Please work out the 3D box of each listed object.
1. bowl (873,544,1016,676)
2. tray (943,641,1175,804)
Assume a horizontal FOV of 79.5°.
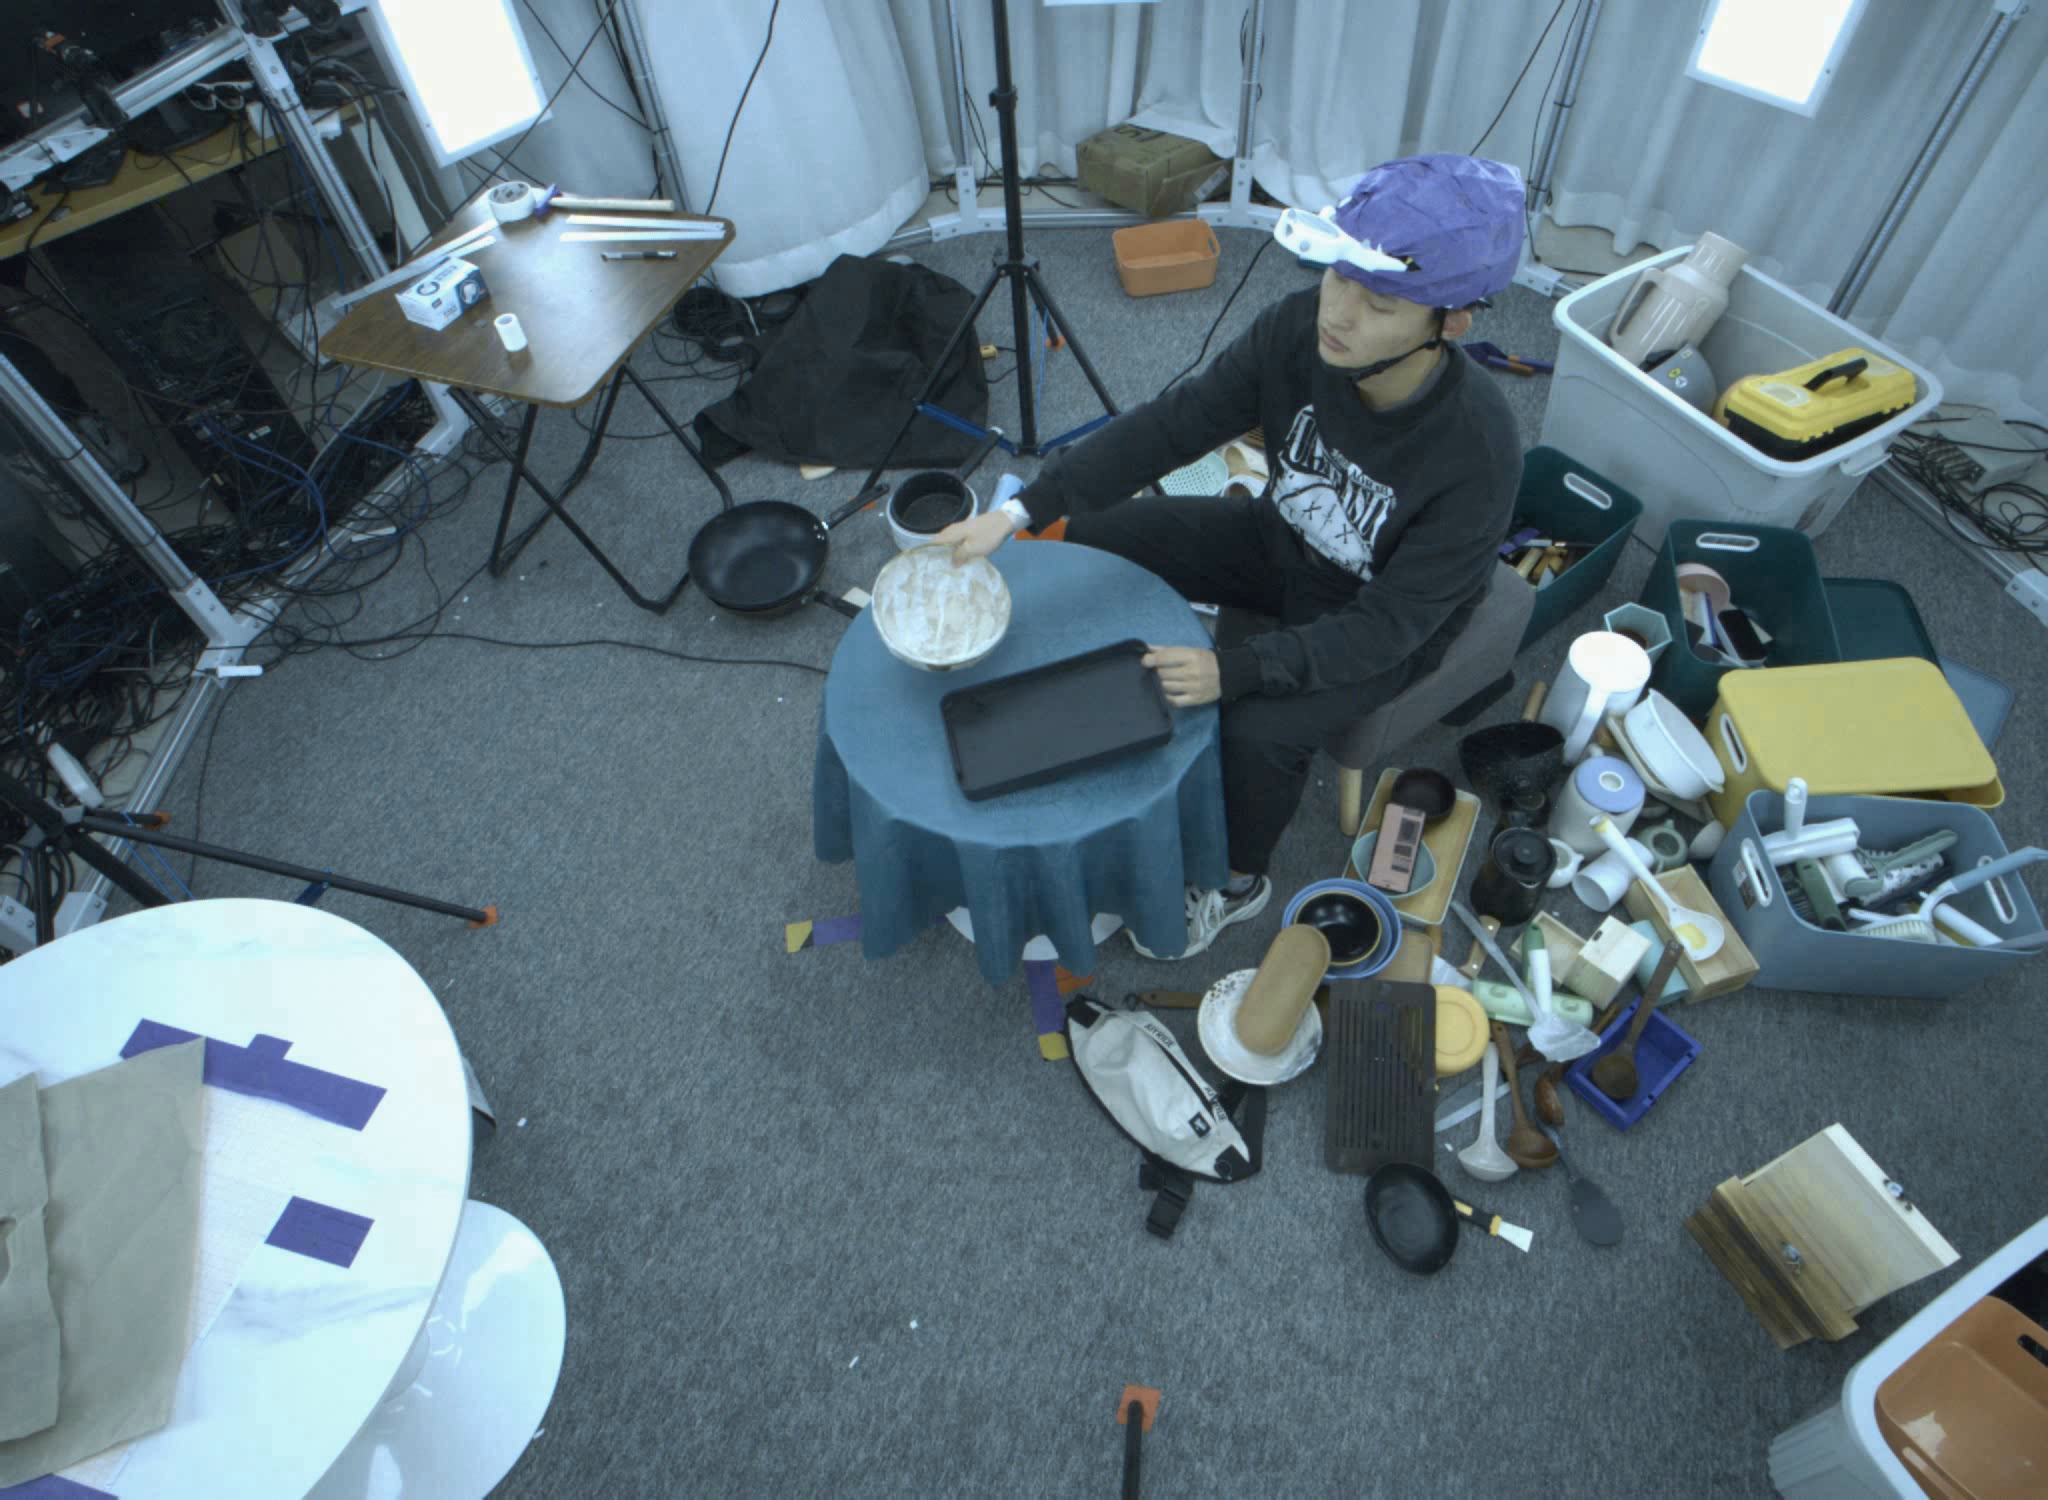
[{"bbox_3d":[-0.118,-0.192,1.815,0.216,0.094,0.213,3,69,-7],"label":"bowl"},{"bbox_3d":[0.049,-0.041,1.777,0.318,0.037,0.181,-16,56,2],"label":"tray"}]
